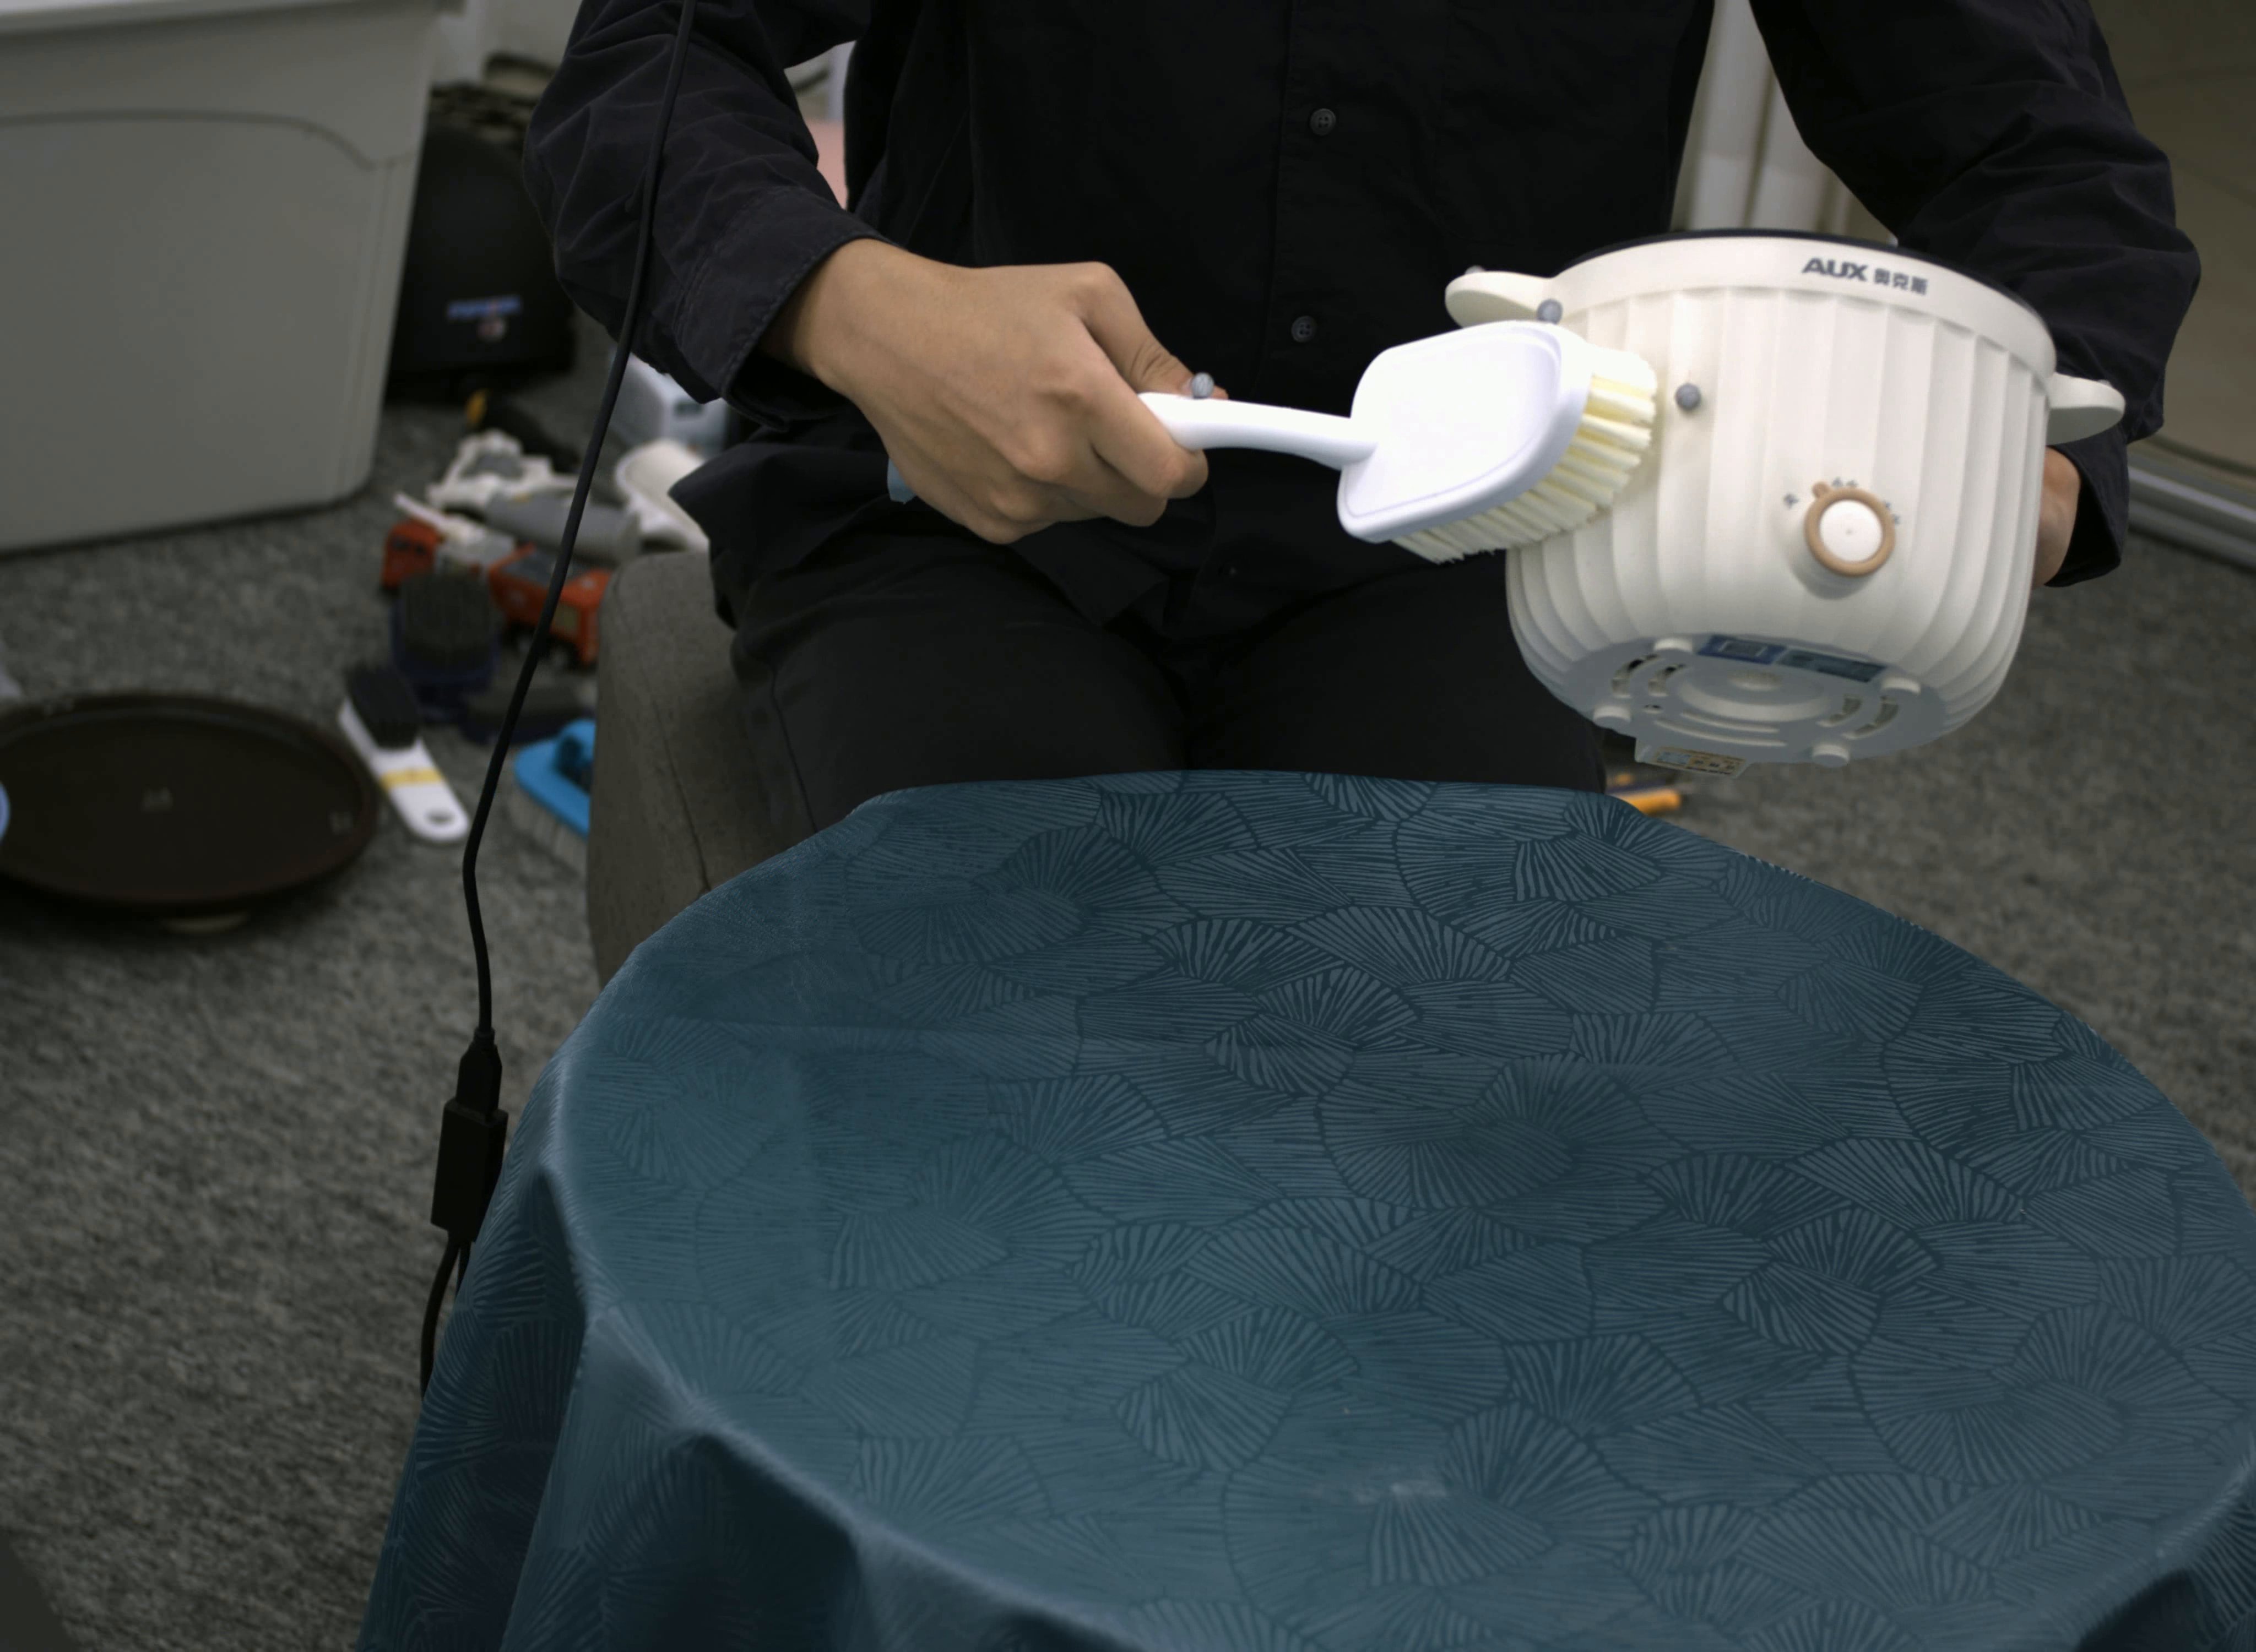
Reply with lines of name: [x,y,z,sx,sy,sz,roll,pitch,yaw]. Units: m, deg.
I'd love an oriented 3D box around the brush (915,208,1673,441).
brush: [0.062,-0.169,1.855,0.327,0.084,0.083,-4,37,43]

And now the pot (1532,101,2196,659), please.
pot: [0.250,-0.148,1.820,0.239,0.190,0.143,9,70,-8]
